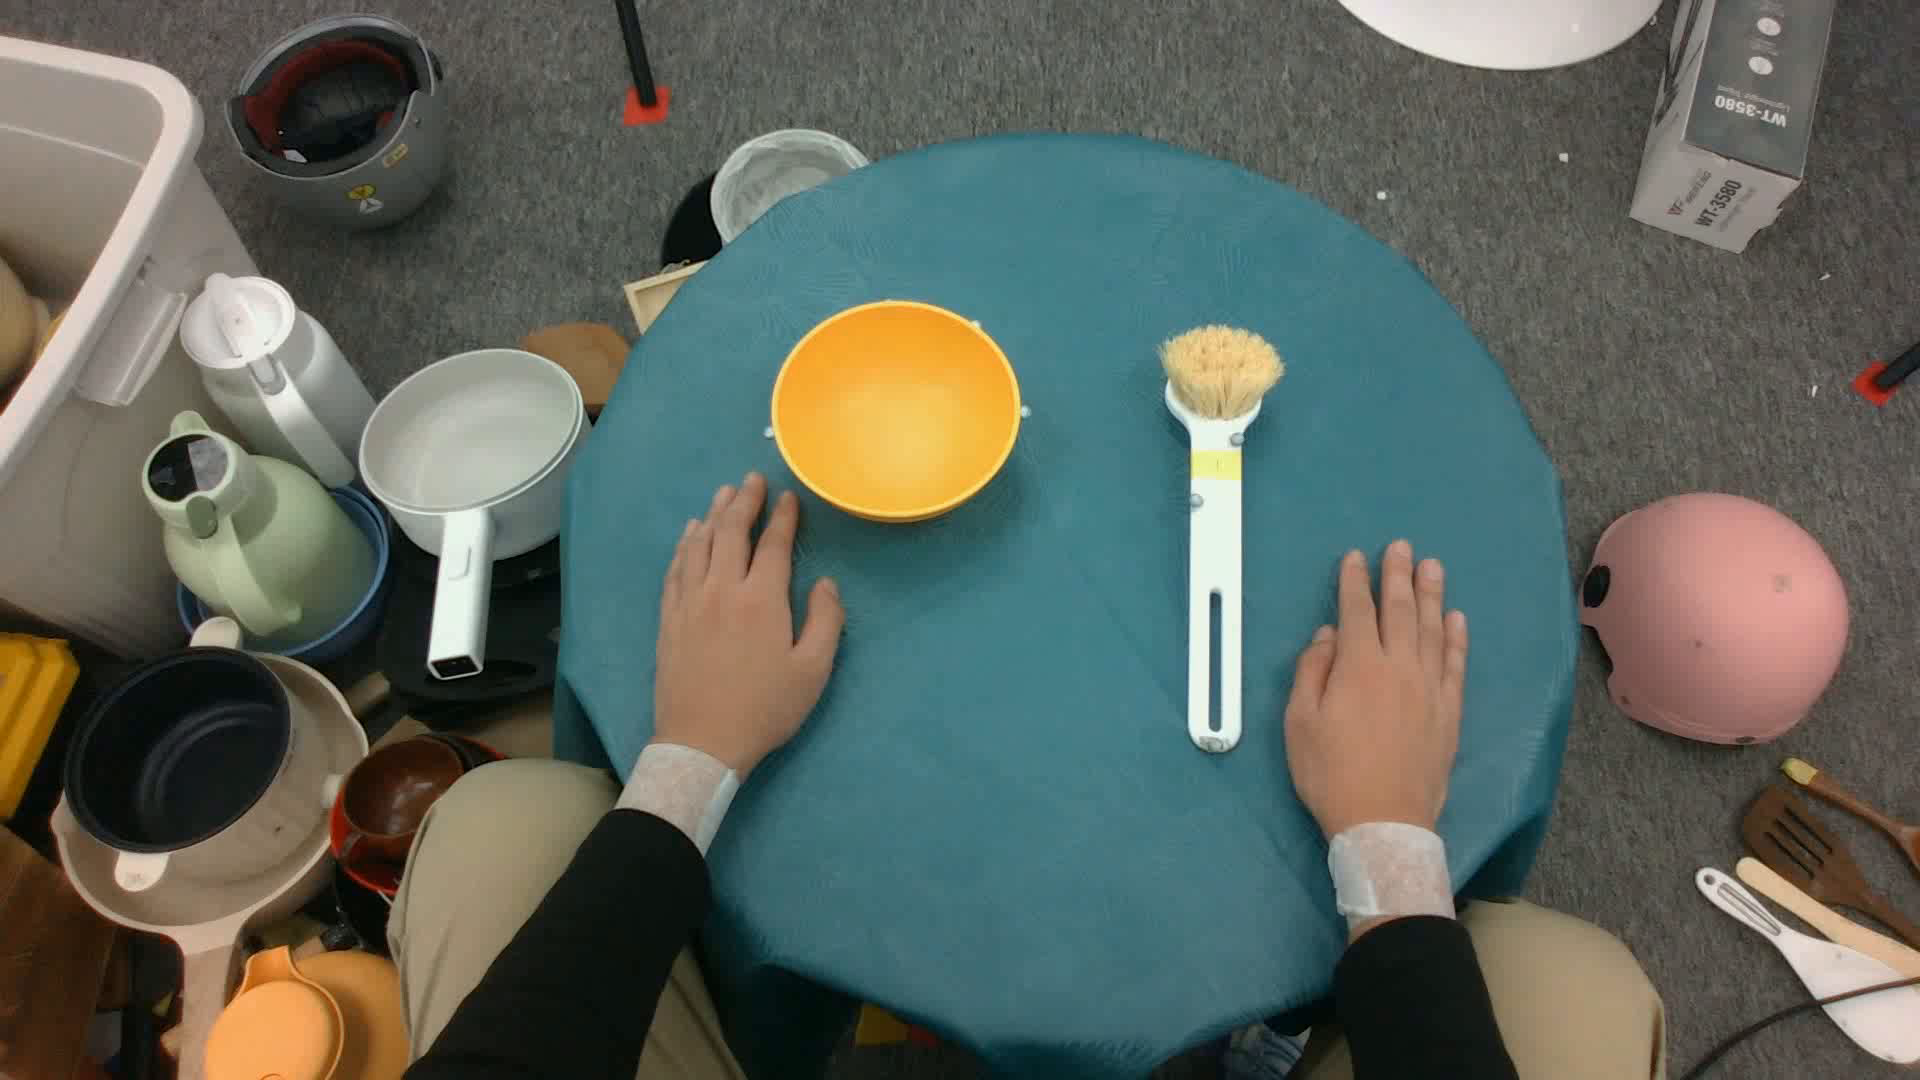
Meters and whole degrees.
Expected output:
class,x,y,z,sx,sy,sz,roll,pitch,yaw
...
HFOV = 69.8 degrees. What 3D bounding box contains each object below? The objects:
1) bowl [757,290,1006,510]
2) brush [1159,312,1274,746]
class,x,y,z,sx,sy,sz,roll,pitch,yaw
bowl,-0.045,-0.074,0.821,0.145,0.060,0.146,0,66,0
brush,0.147,-0.016,0.802,0.068,0.056,0.267,3,66,5
